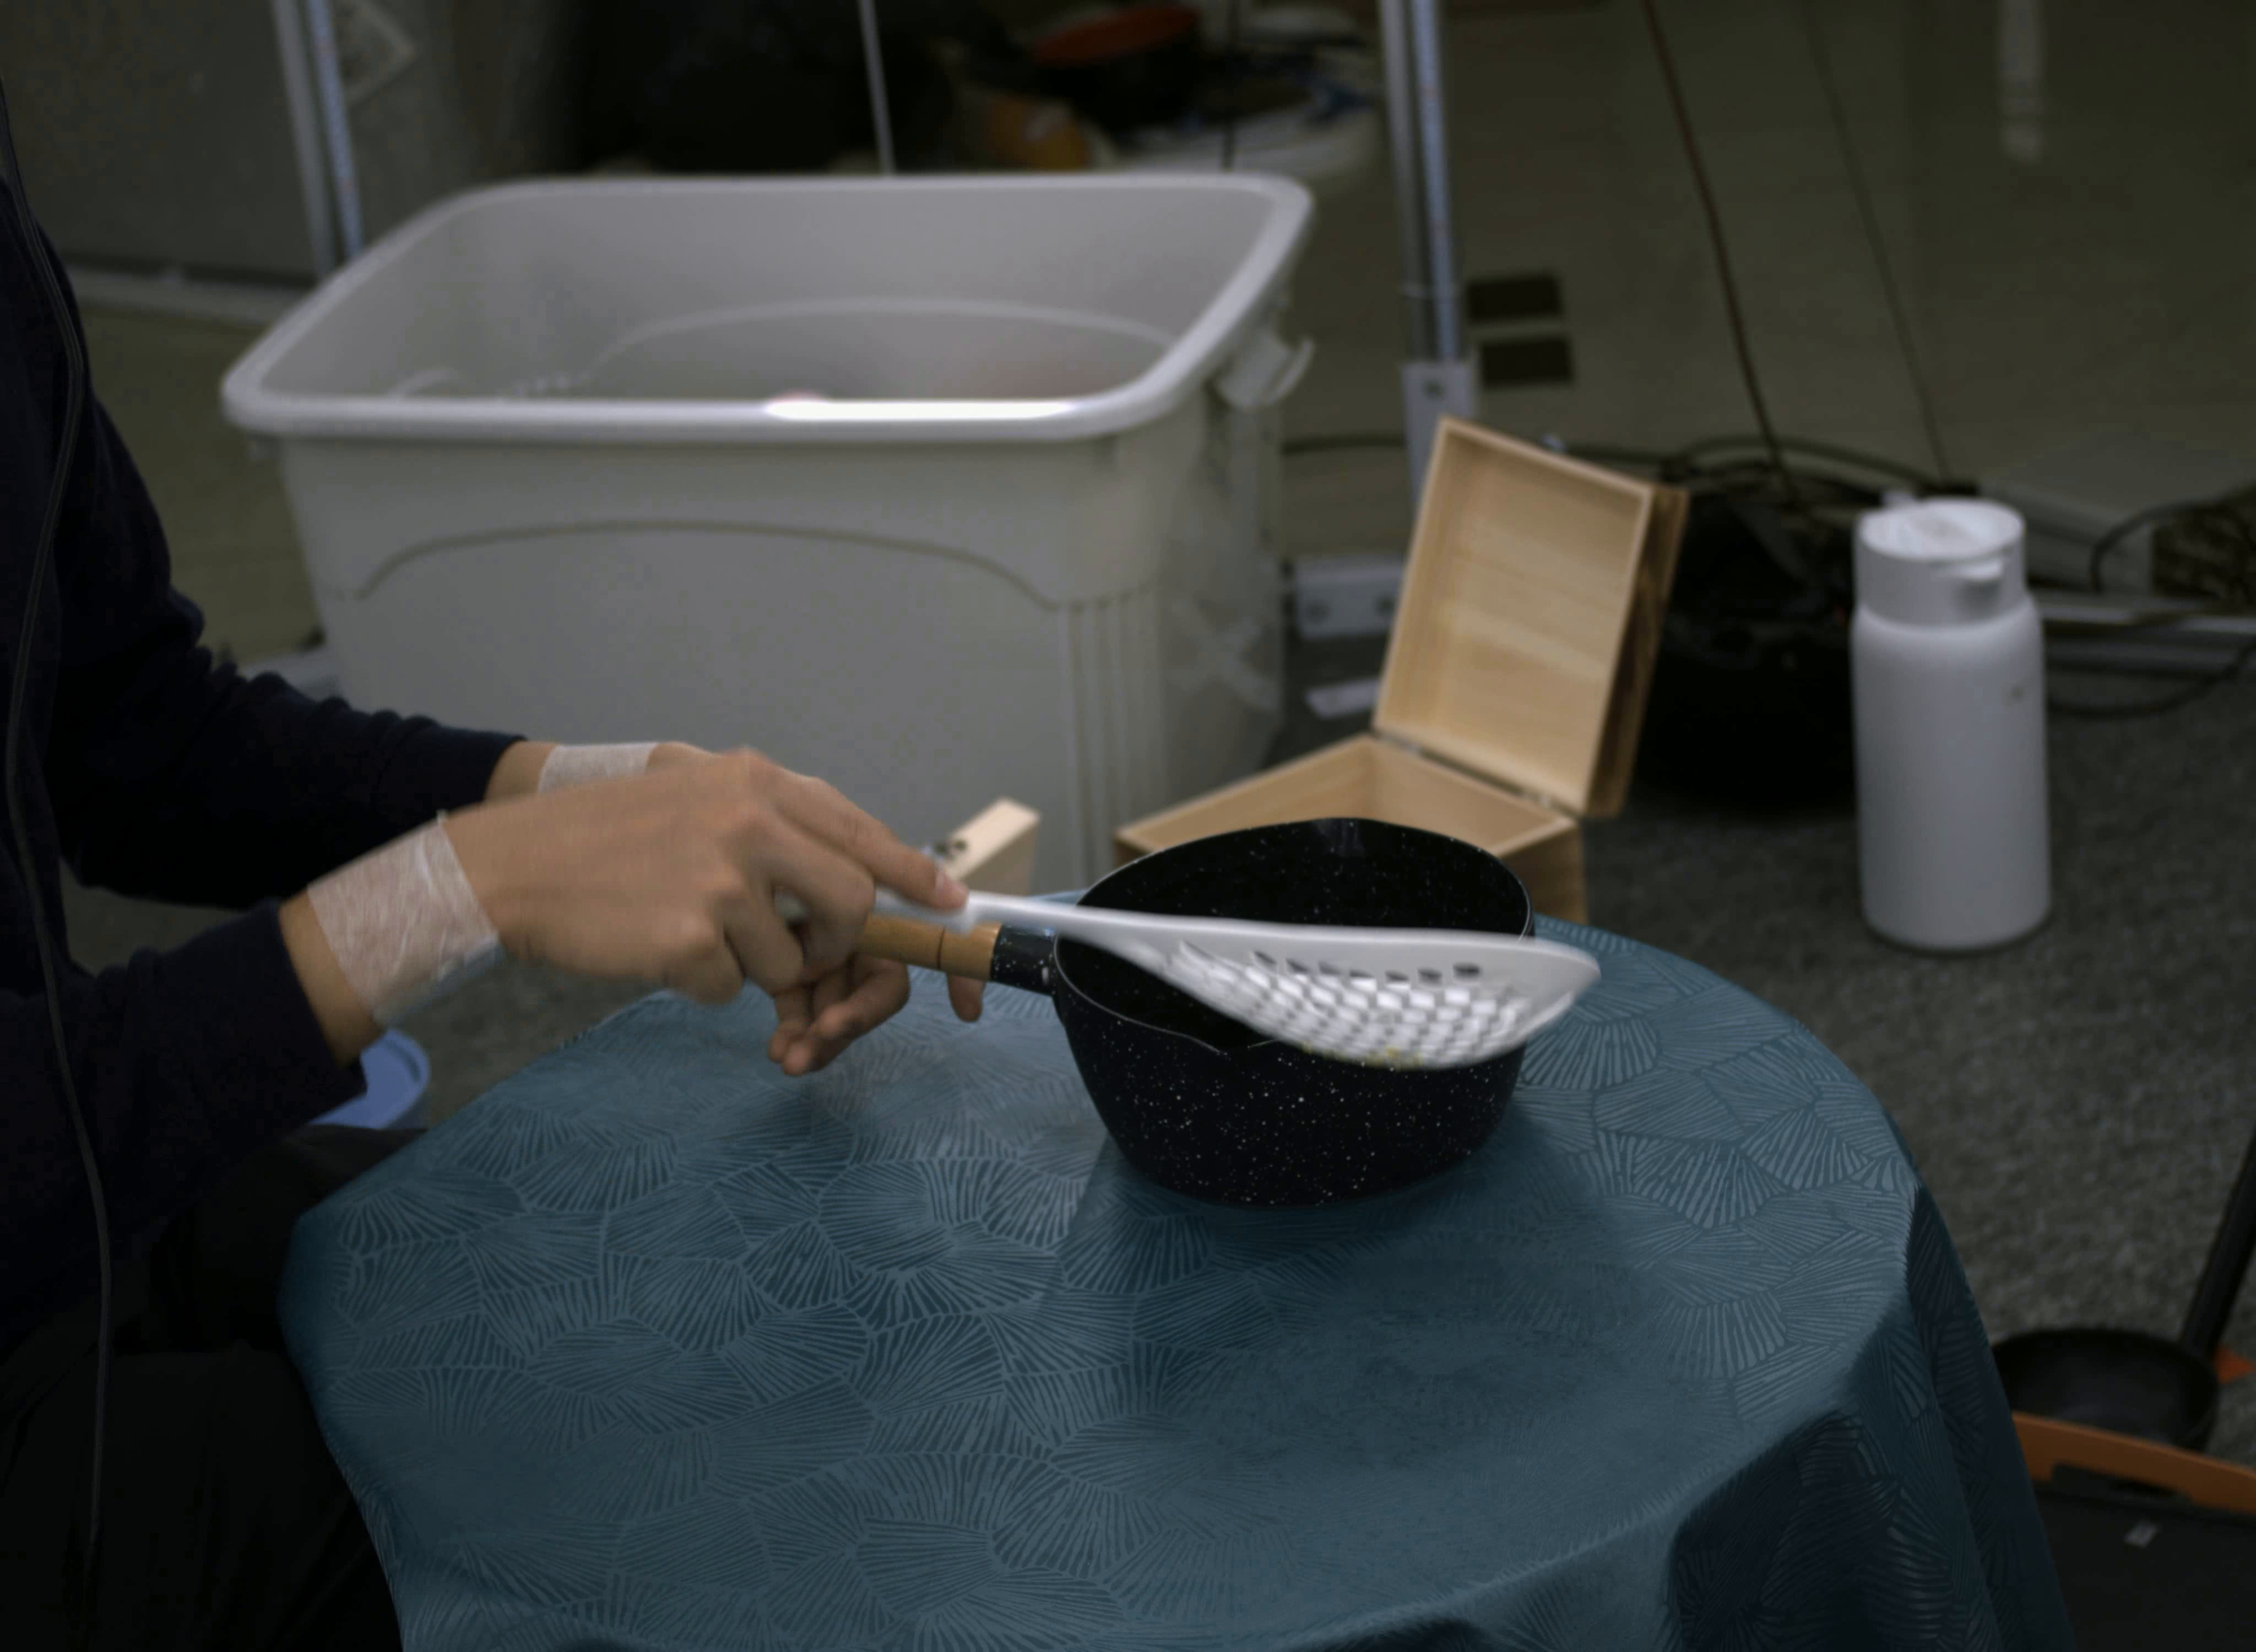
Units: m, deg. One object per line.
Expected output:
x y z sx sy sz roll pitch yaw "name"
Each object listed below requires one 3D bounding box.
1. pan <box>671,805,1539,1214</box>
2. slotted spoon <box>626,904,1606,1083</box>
-0.011 0.064 2.182 0.342 0.110 0.204 2 28 14 "pan"
-0.004 0.049 1.955 0.348 0.050 0.137 11 -9 -18 "slotted spoon"
